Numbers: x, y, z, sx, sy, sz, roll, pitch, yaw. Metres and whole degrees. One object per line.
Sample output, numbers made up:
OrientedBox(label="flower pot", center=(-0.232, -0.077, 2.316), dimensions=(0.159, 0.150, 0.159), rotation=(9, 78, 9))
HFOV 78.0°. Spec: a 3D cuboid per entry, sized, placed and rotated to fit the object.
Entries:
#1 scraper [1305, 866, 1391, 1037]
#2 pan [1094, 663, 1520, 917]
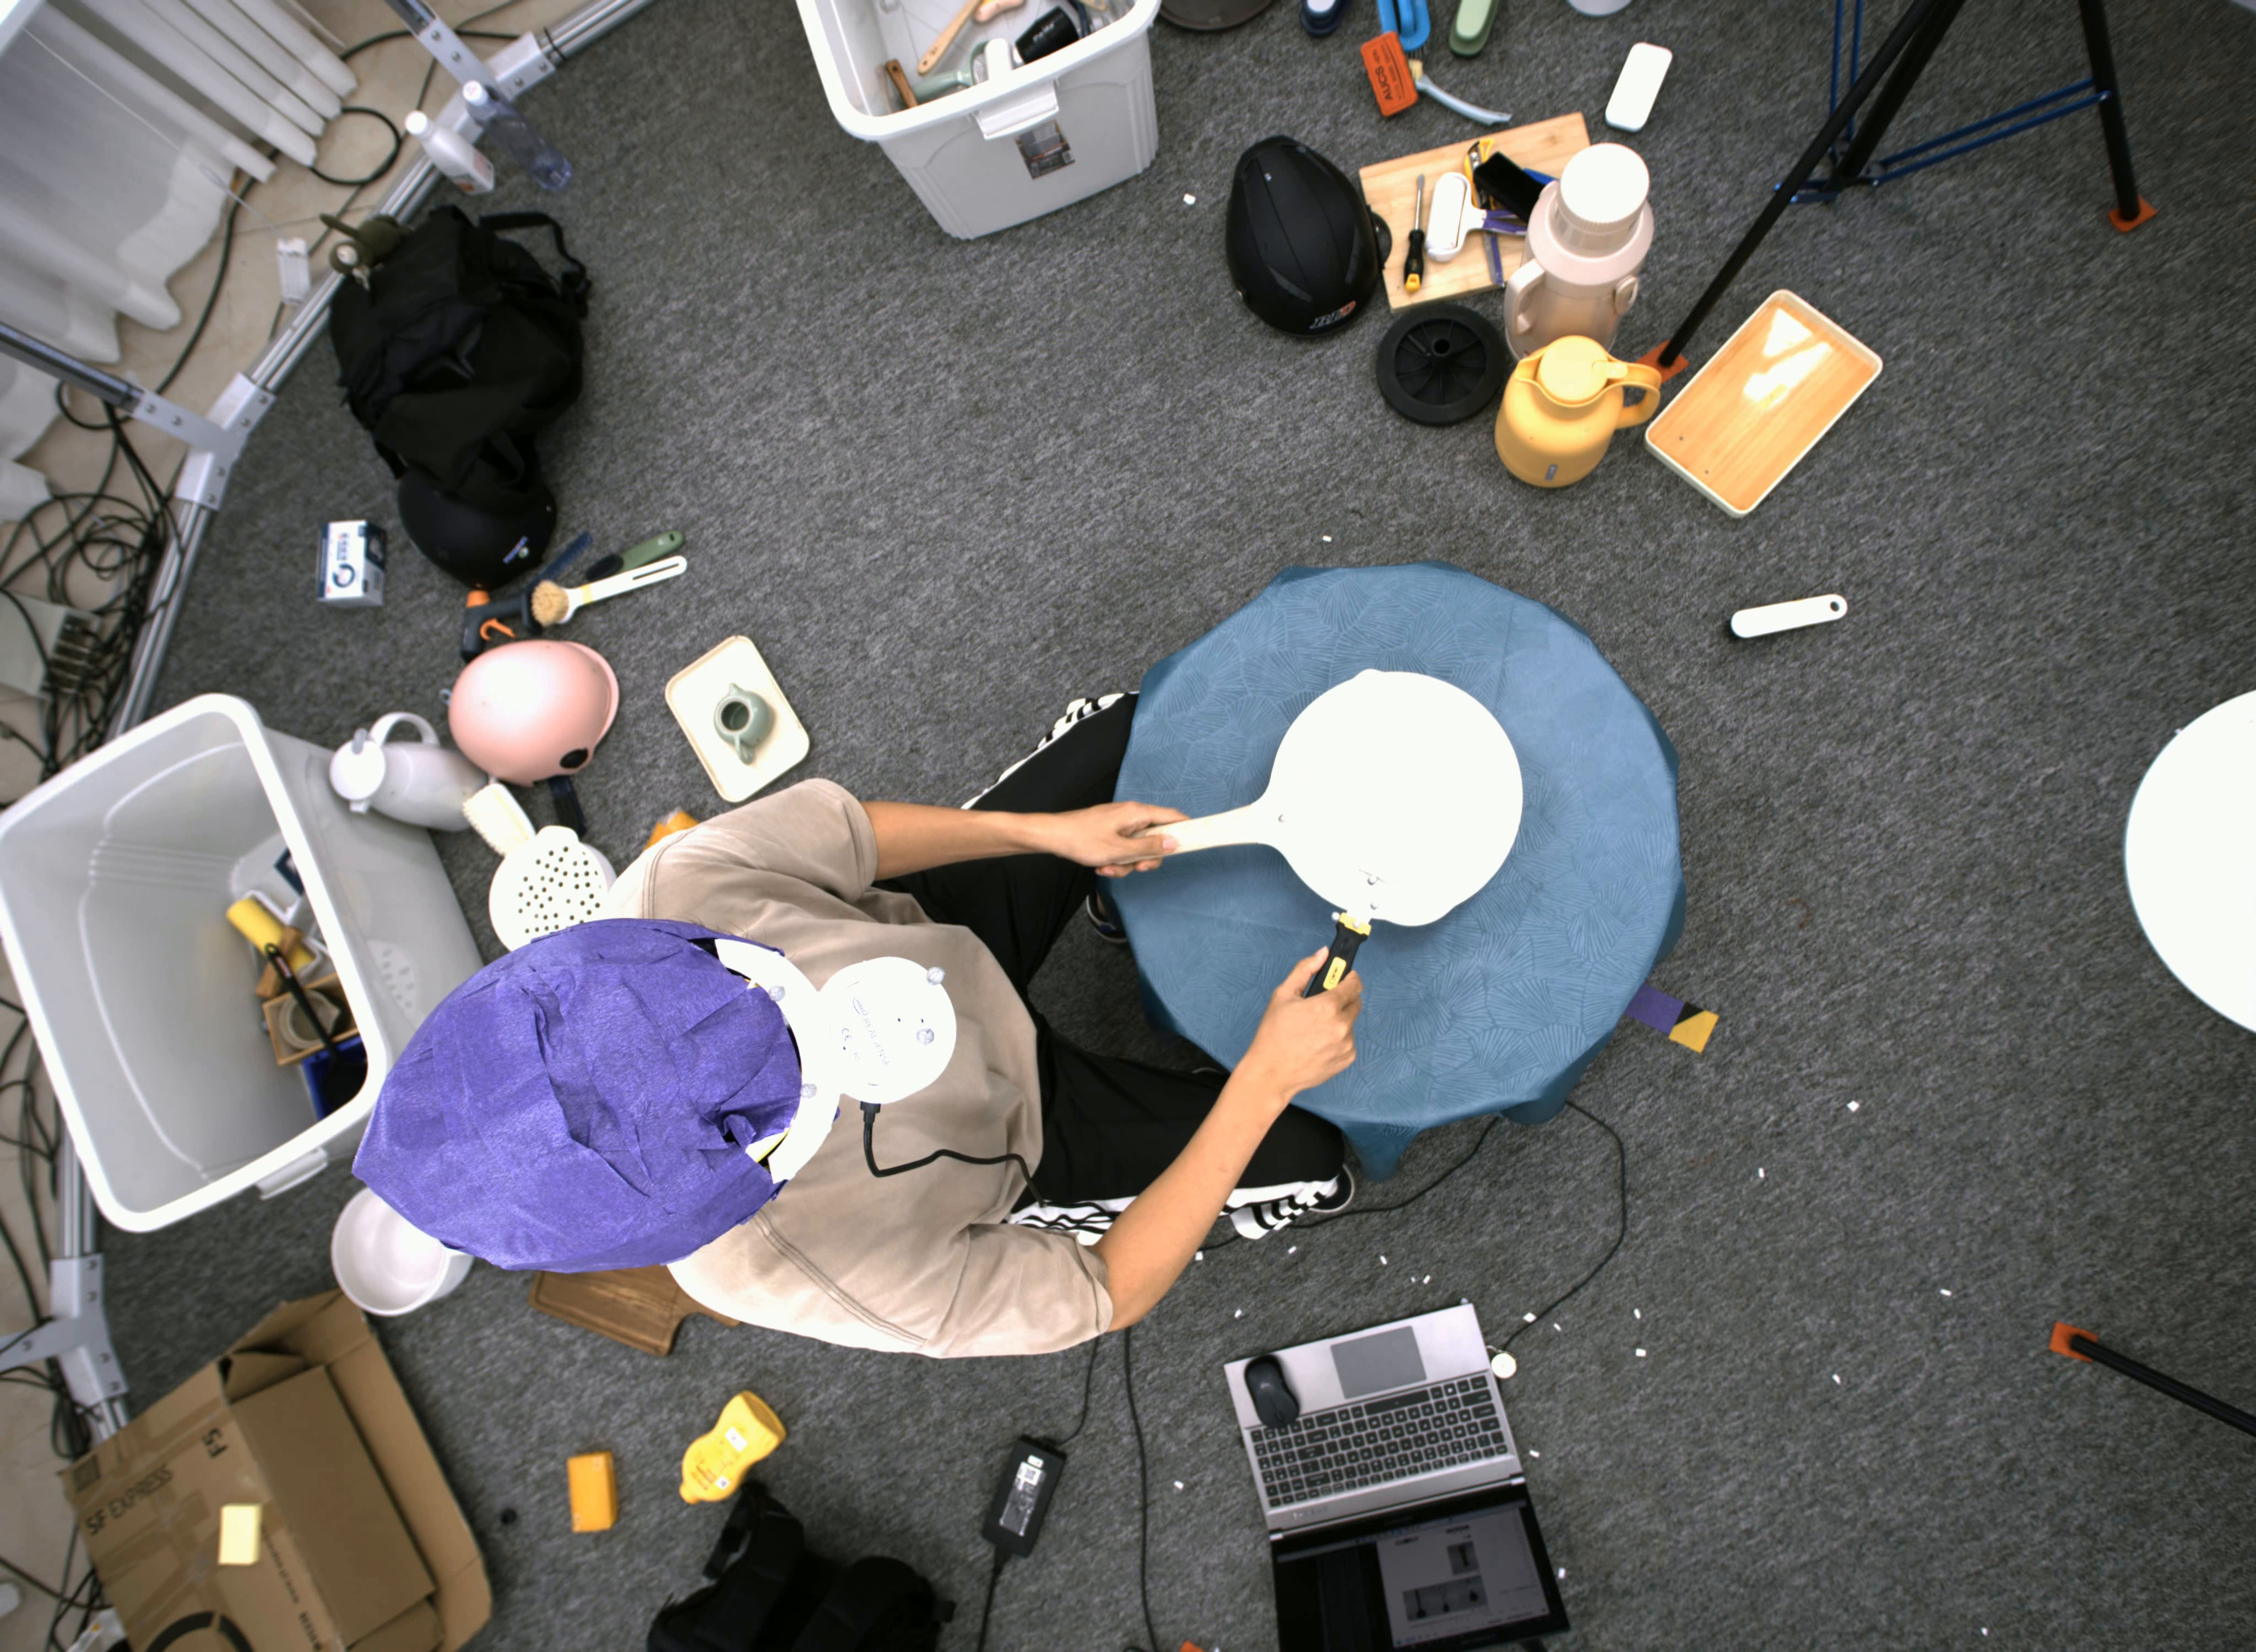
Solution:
OrientedBox(label="scraper", center=(0.205, 0.118, 1.301), dimensions=(0.039, 0.015, 0.168), rotation=(25, 73, -6))
OrientedBox(label="pan", center=(0.183, -0.017, 1.434), dimensions=(0.437, 0.102, 0.262), rotation=(-13, 87, 9))
